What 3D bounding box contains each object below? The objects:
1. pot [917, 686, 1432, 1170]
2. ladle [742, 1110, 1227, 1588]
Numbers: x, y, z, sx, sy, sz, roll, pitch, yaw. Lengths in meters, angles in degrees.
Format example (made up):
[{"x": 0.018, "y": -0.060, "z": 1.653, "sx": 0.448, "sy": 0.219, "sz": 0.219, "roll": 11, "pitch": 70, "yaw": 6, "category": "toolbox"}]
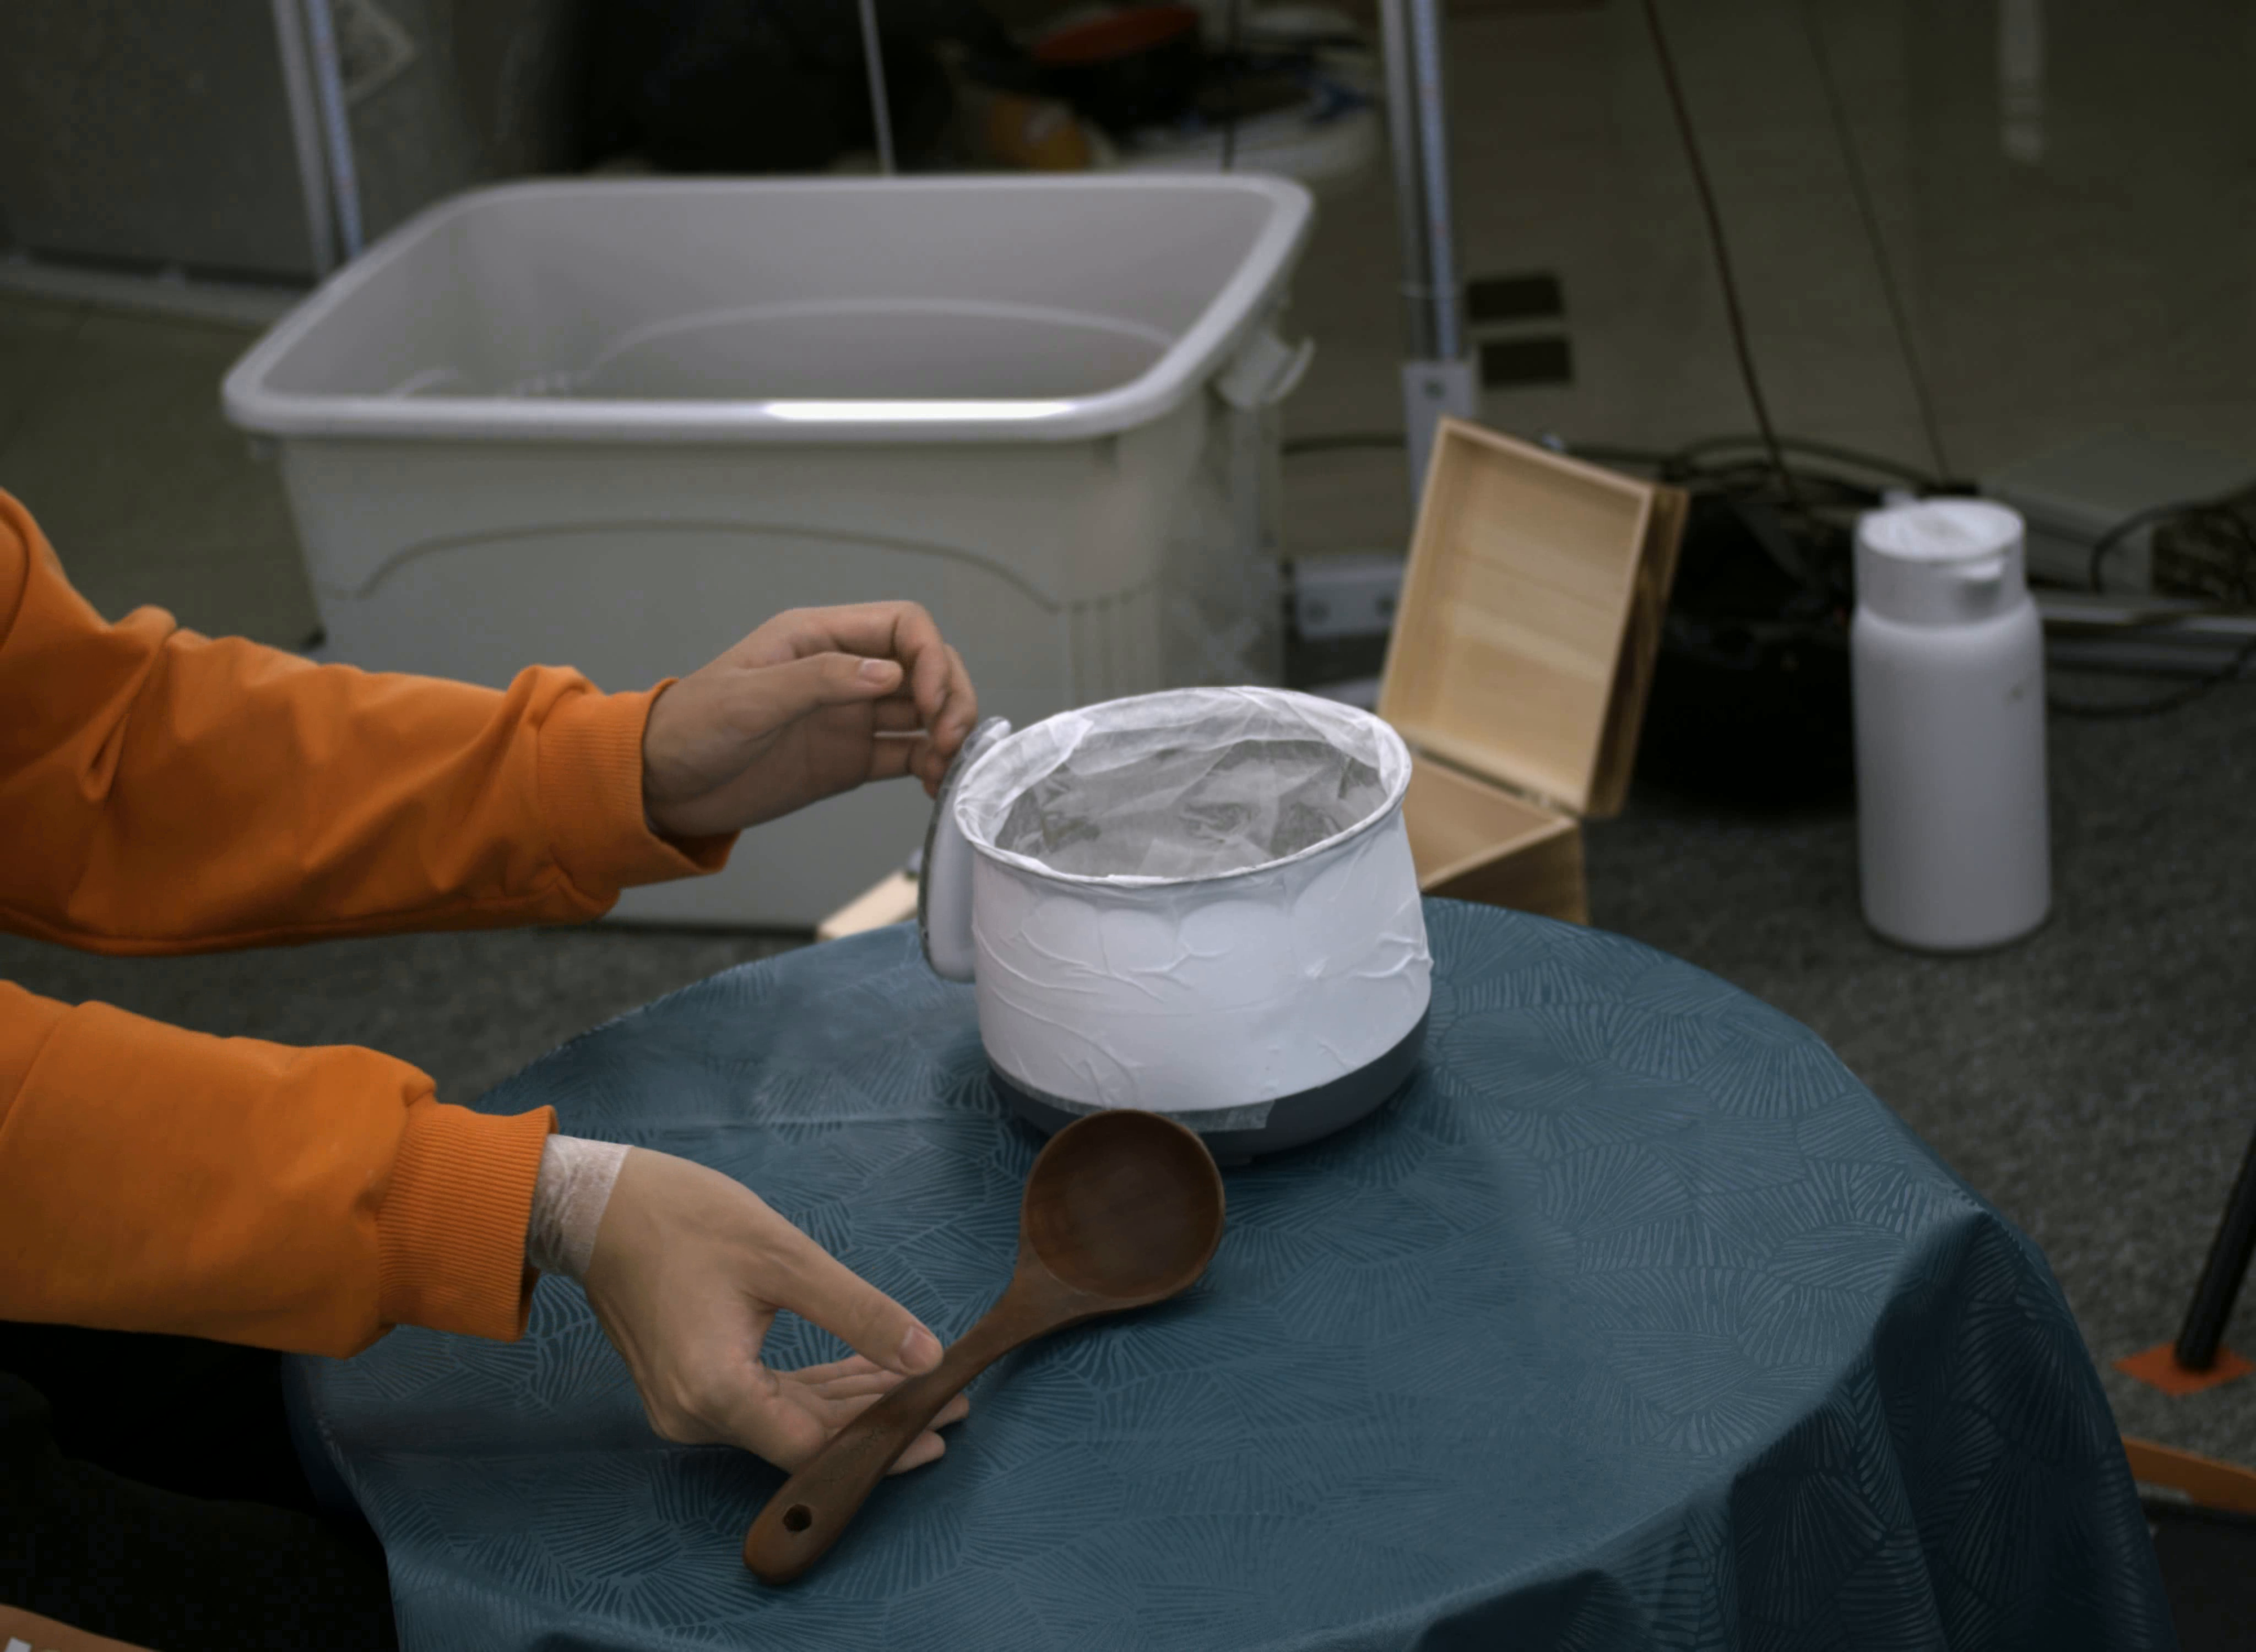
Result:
[{"x": 0.006, "y": 0.034, "z": 2.205, "sx": 0.232, "sy": 0.139, "sz": 0.177, "roll": 16, "pitch": 33, "yaw": 38, "category": "pot"}, {"x": -0.052, "y": 0.181, "z": 1.998, "sx": 0.076, "sy": 0.066, "sz": 0.257, "roll": 32, "pitch": 38, "yaw": 17, "category": "ladle"}]
